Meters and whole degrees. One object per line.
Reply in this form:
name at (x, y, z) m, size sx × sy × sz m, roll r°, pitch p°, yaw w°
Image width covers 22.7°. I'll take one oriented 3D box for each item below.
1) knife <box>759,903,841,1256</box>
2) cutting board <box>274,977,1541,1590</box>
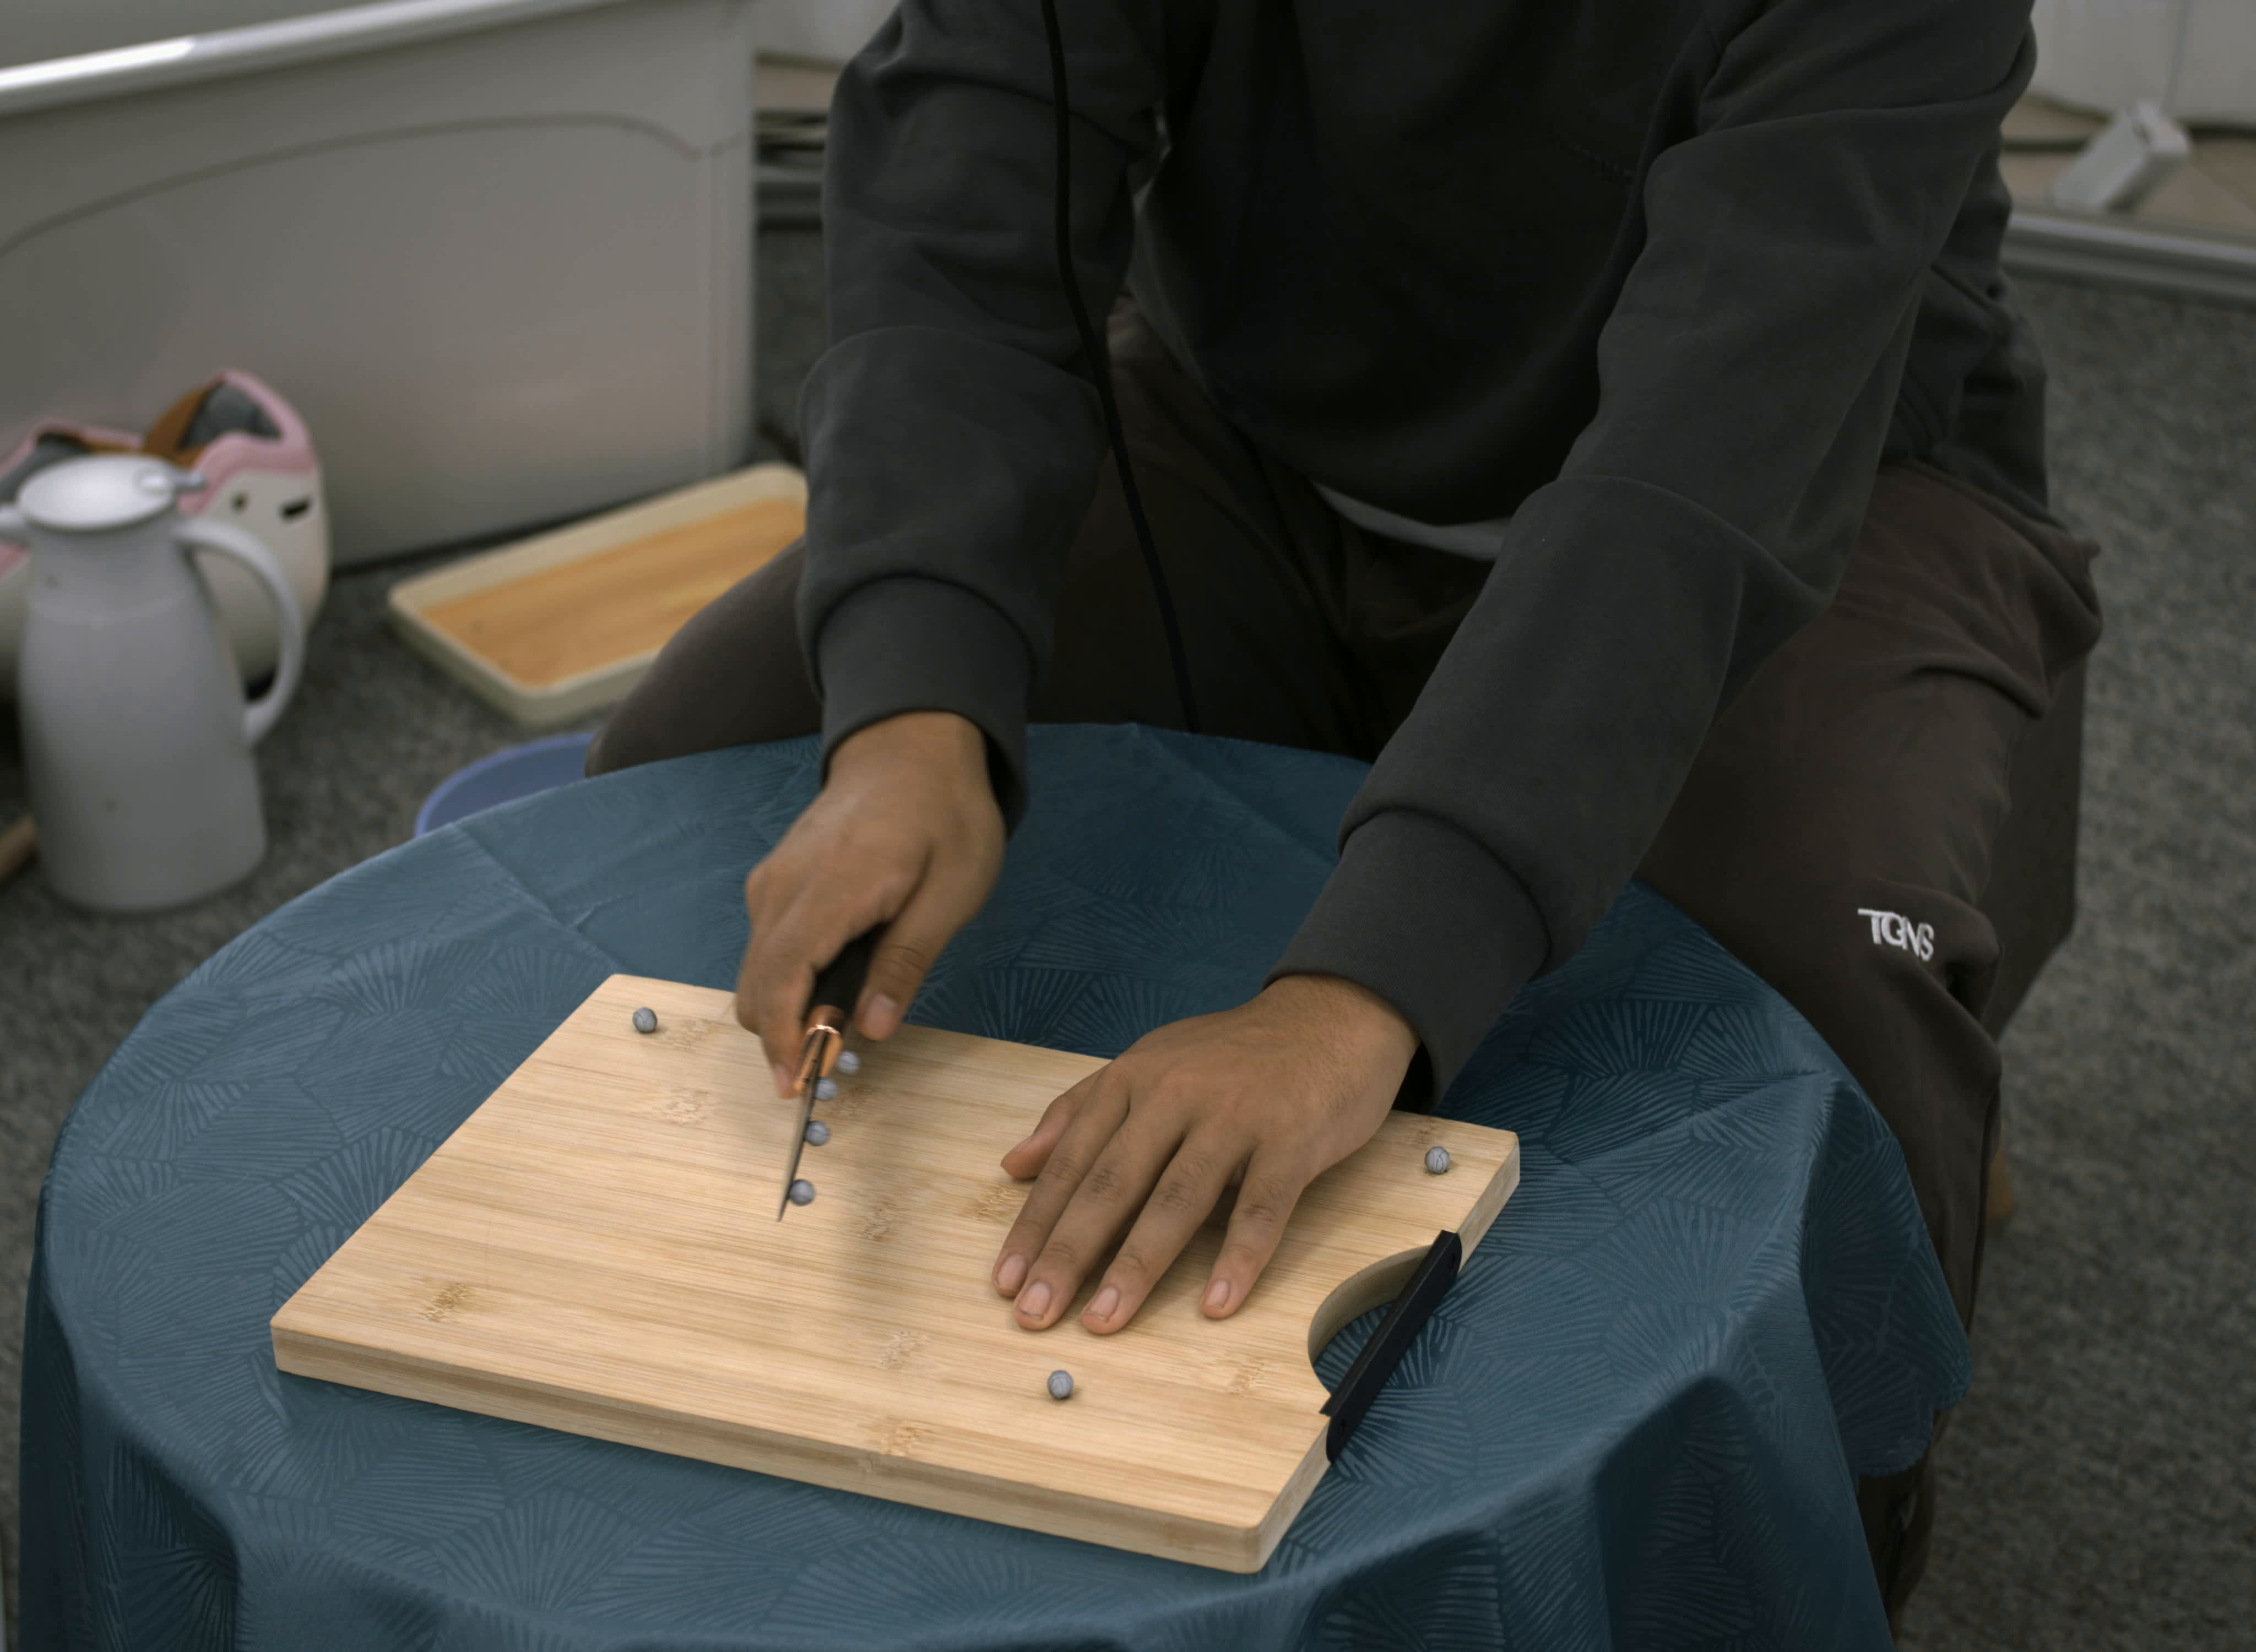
knife at (-0.108, 0.080, 1.833) m, size 0.017 × 0.026 × 0.228 m, roll 23°, pitch 23°, yaw -9°
cutting board at (-0.067, 0.140, 1.818) m, size 0.346 × 0.023 × 0.255 m, roll 8°, pitch 30°, yaw 20°
